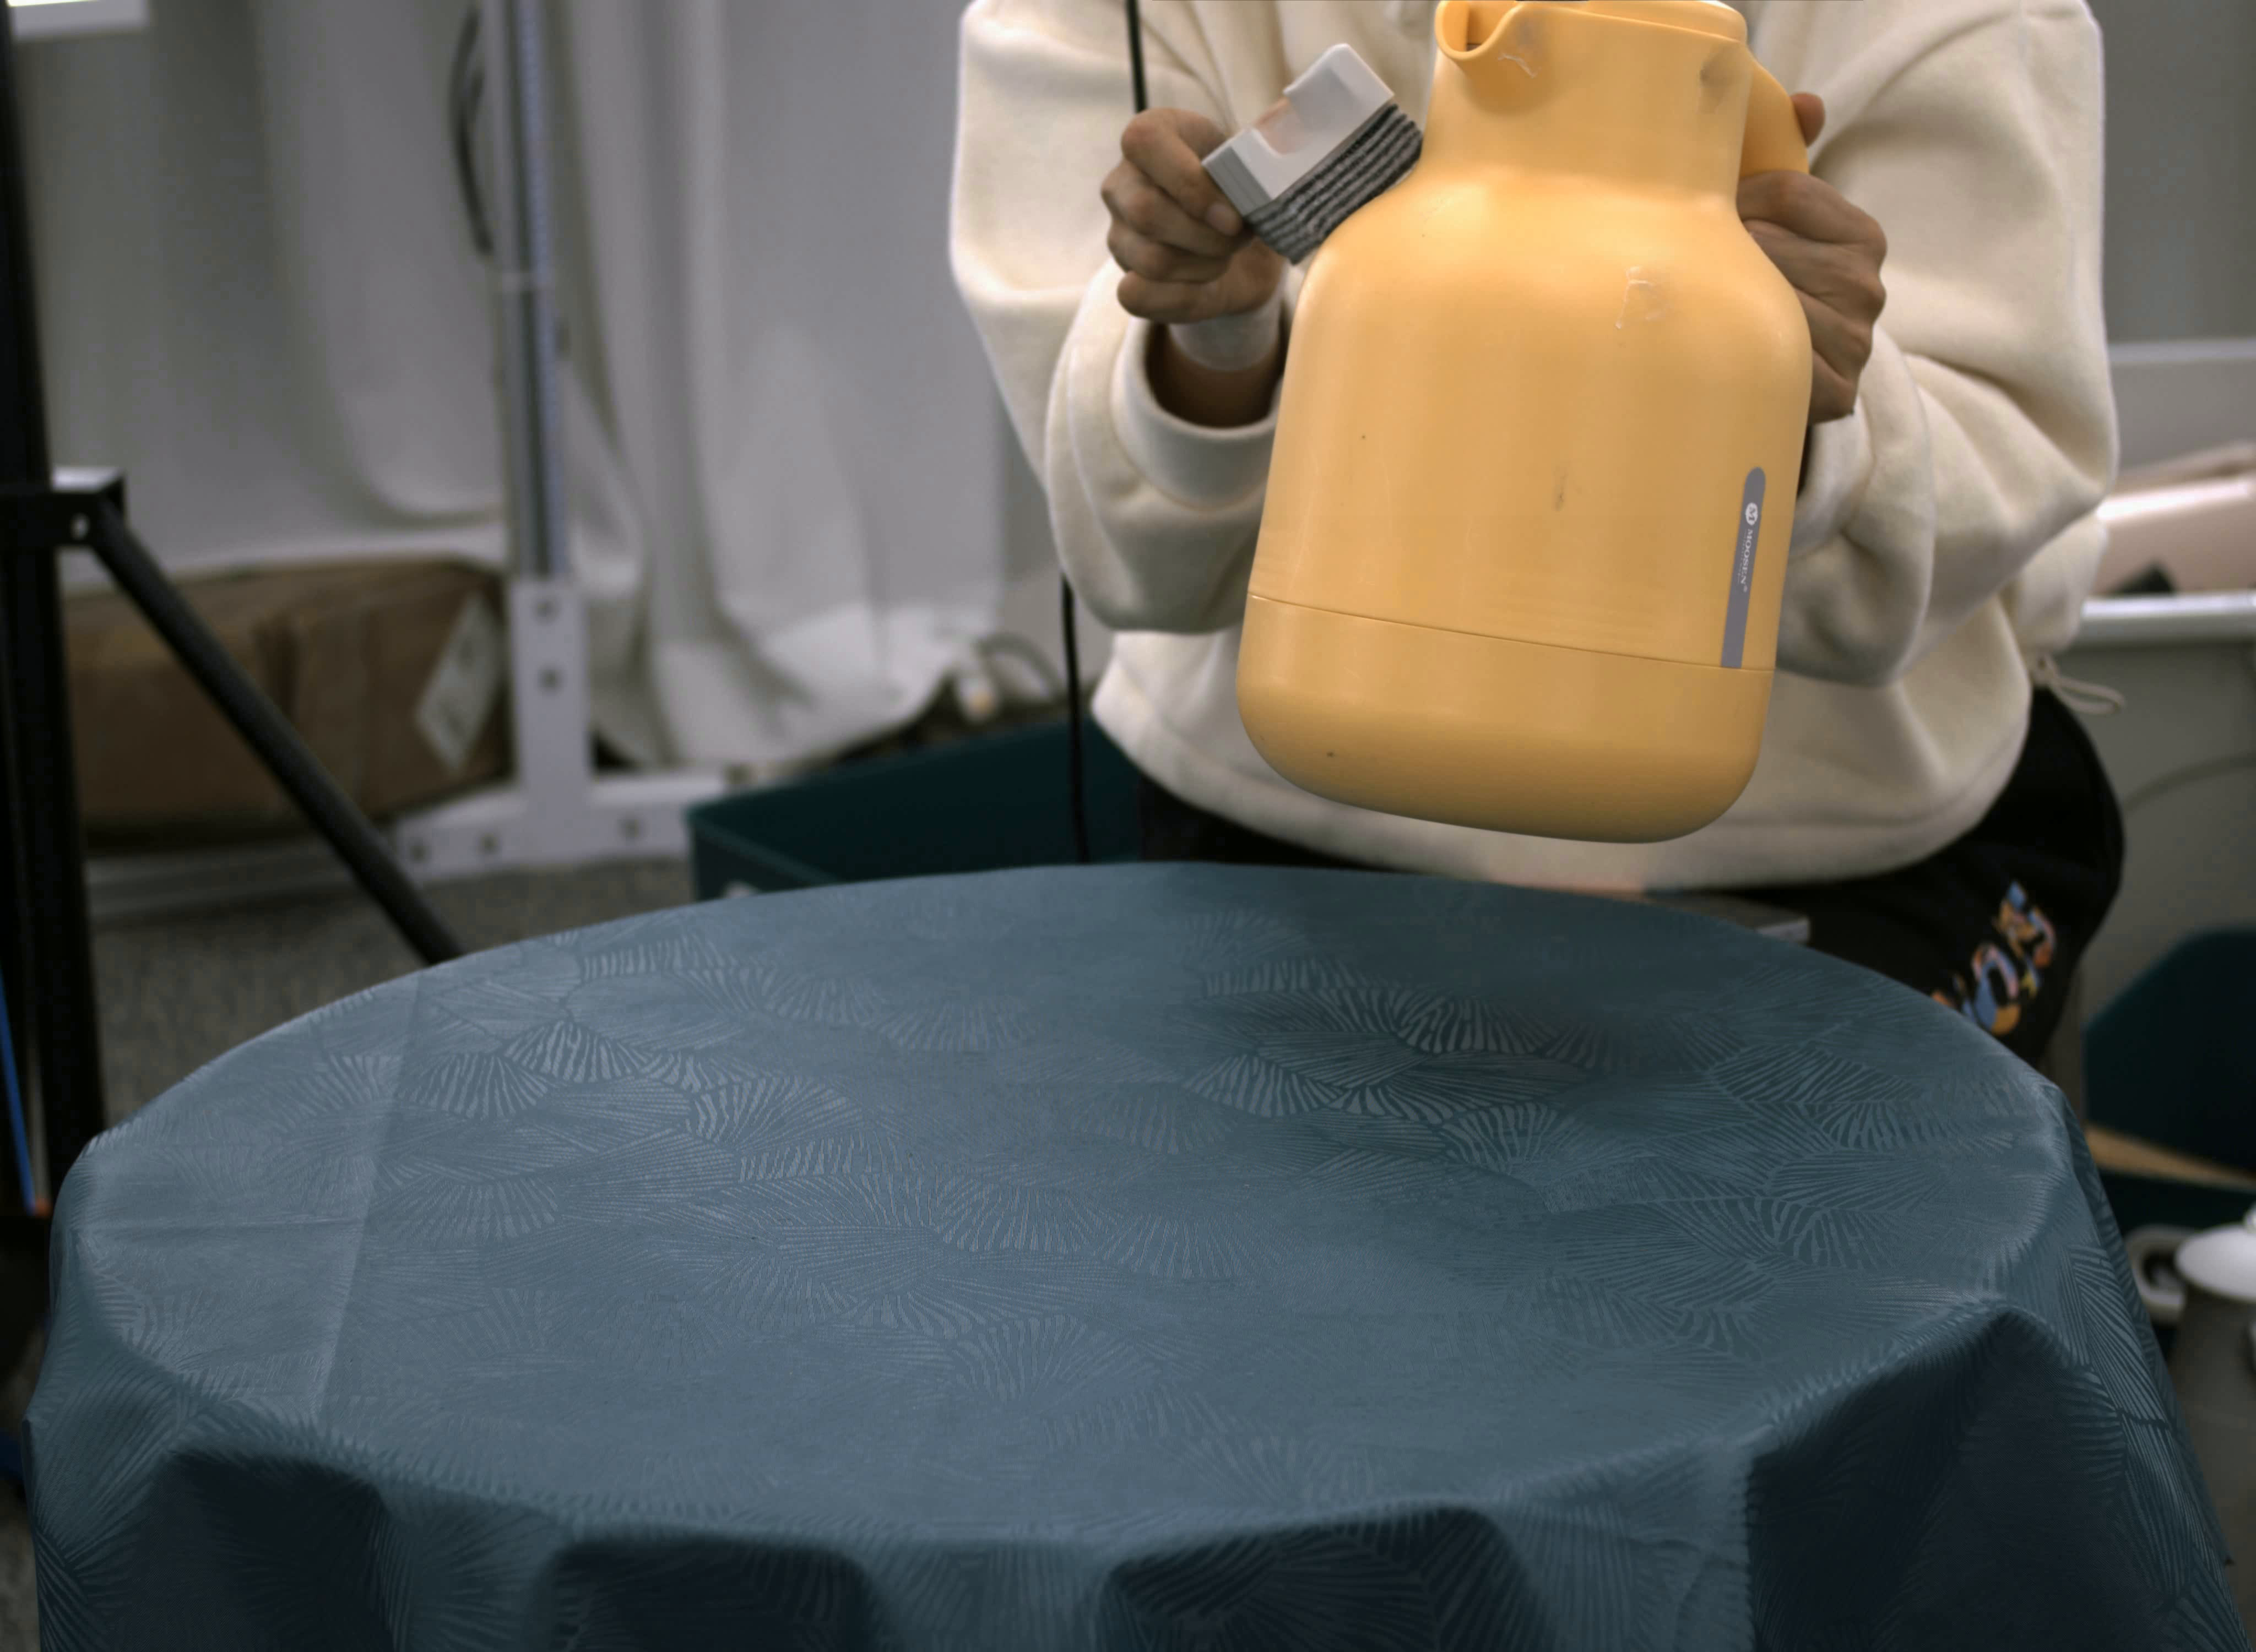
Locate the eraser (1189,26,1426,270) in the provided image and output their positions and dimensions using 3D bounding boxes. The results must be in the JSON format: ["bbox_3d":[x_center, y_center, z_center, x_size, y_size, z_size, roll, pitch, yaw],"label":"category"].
[{"bbox_3d":[0.057,-0.212,1.688,0.049,0.046,0.135,-45,5,-3],"label":"eraser"}]

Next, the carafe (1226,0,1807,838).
[{"bbox_3d":[0.139,-0.132,1.639,0.167,0.261,0.197,16,9,39],"label":"carafe"}]
